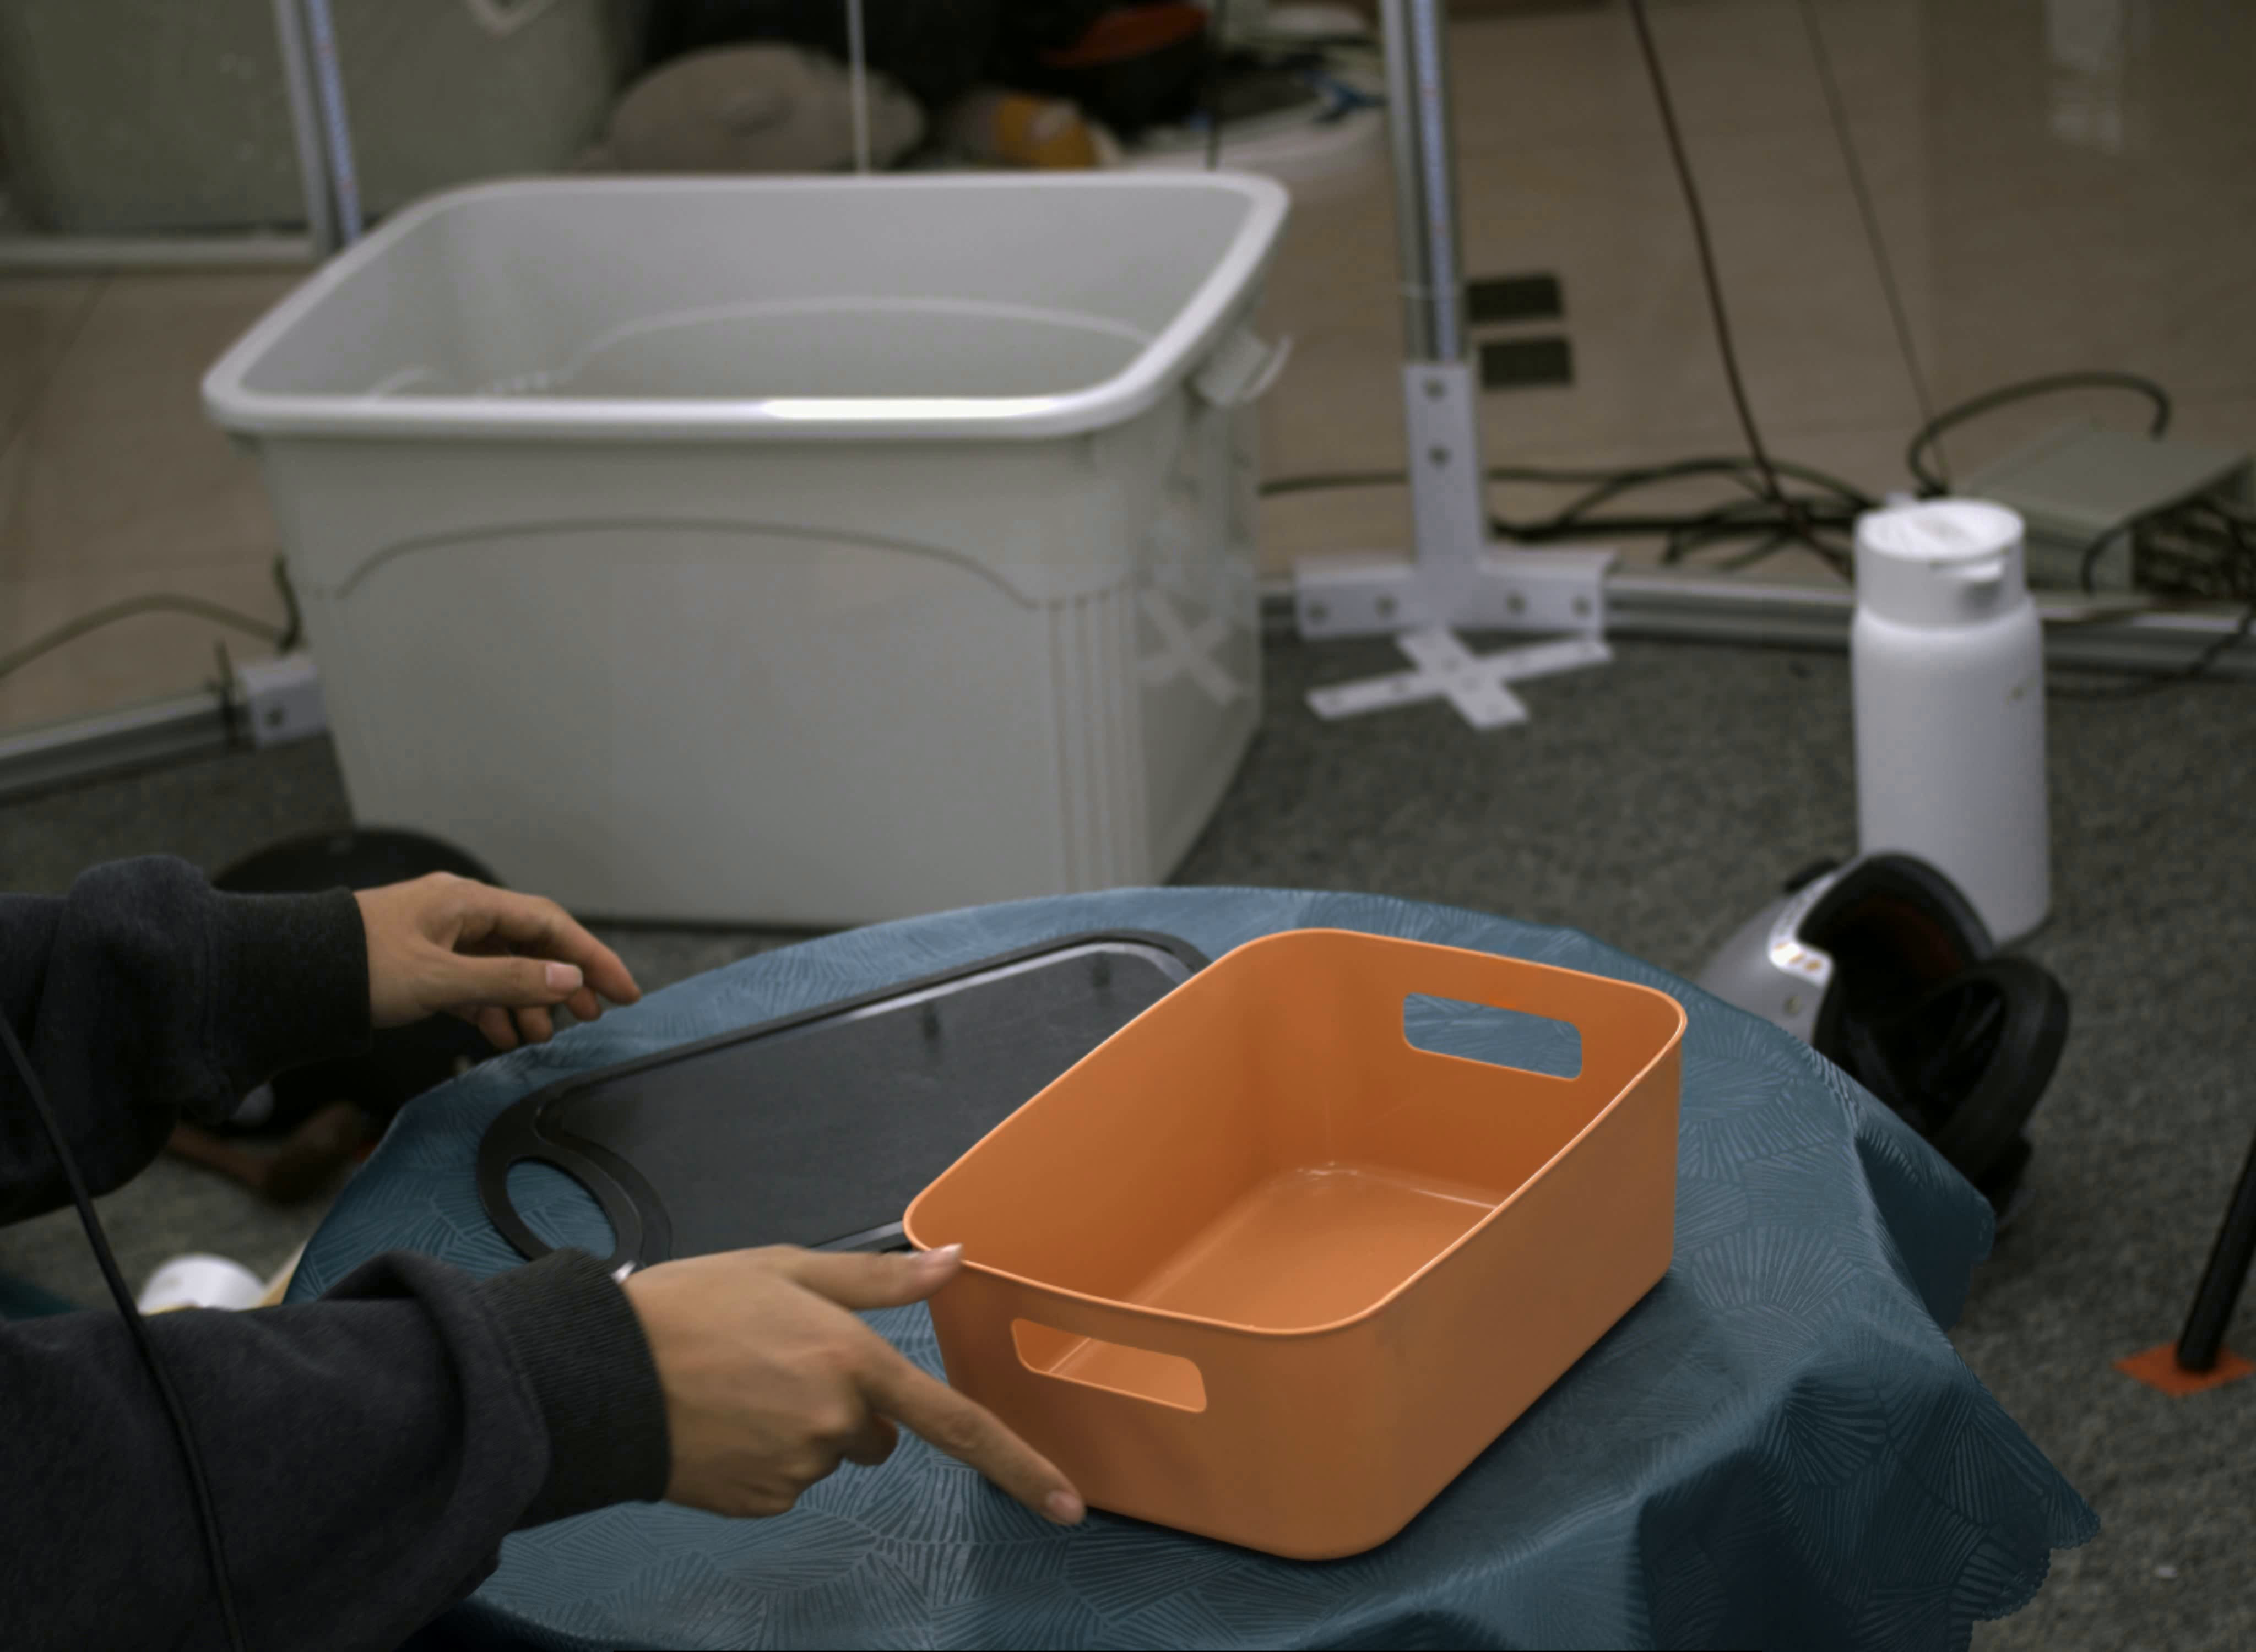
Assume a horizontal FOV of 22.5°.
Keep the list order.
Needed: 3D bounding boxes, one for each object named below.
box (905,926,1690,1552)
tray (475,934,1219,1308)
[{"bbox_3d":[0.064,0.144,1.995,0.198,0.104,0.270,11,30,32],"label":"box"},{"bbox_3d":[-0.094,0.113,2.219,0.324,0.010,0.208,-16,26,-19],"label":"tray"}]
